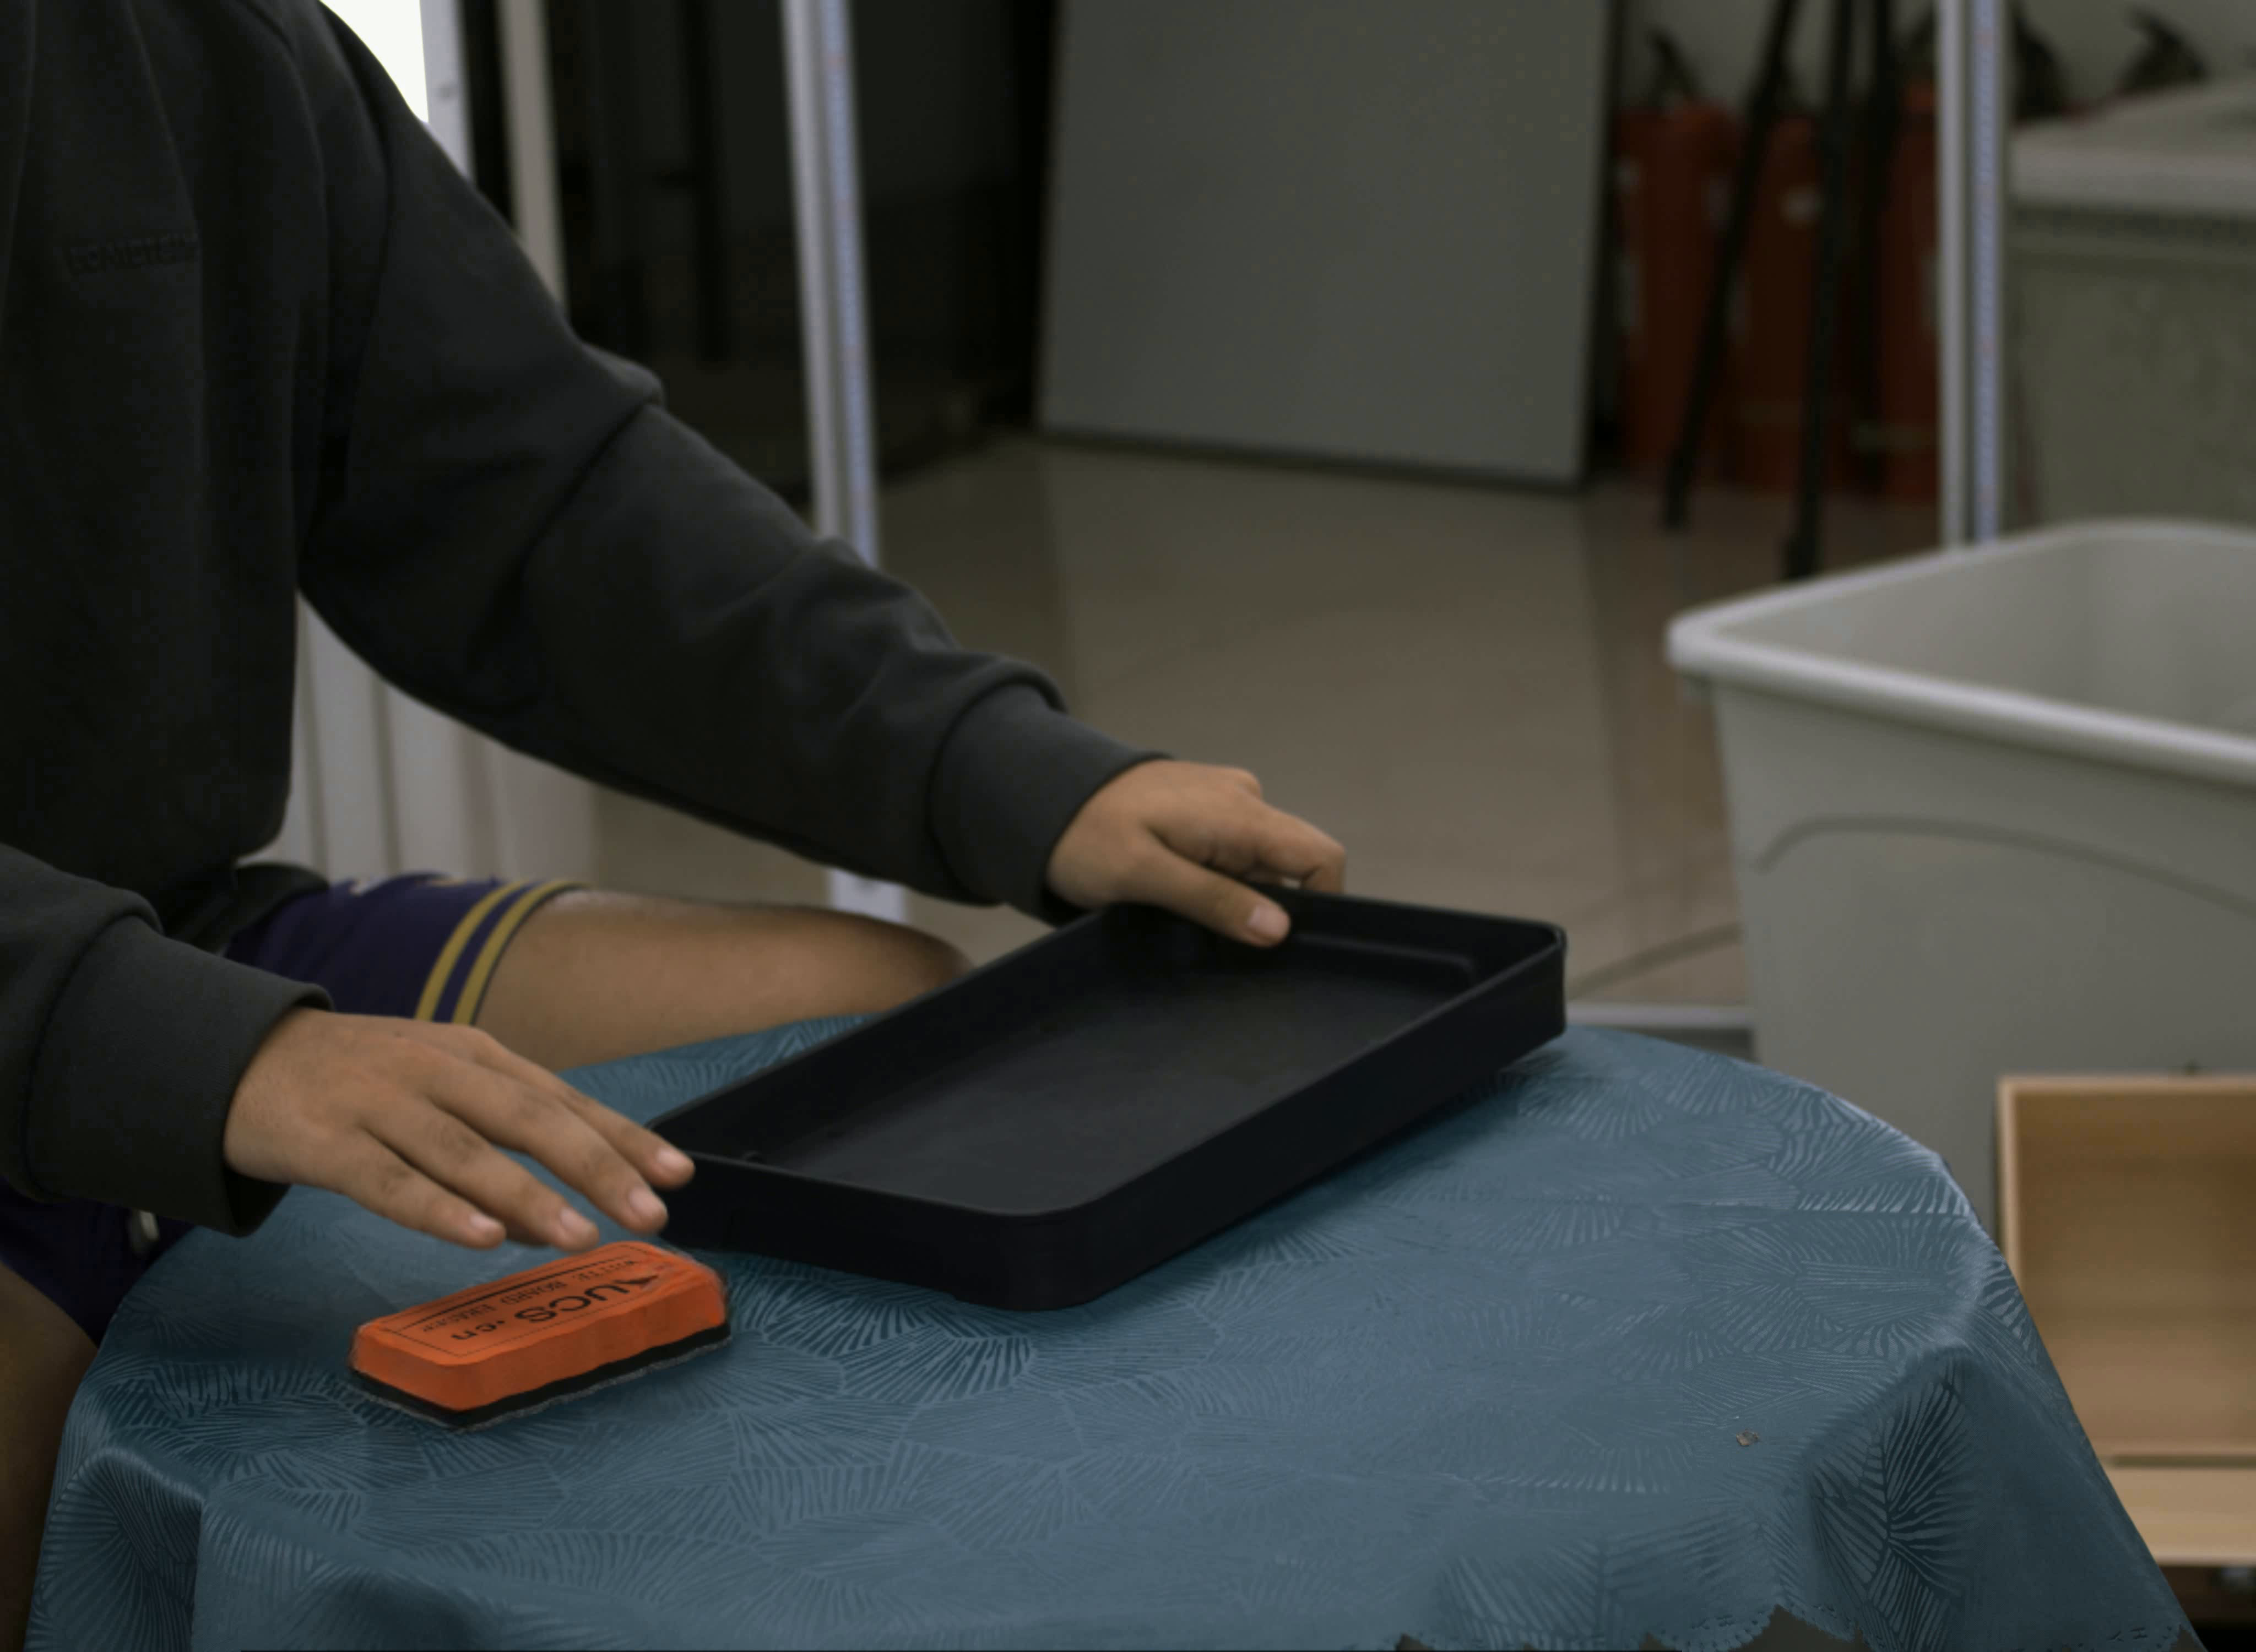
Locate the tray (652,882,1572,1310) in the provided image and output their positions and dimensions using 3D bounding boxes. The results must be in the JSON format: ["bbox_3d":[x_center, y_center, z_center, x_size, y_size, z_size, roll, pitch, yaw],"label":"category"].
[{"bbox_3d":[0.002,0.085,1.819,0.185,0.037,0.312,5,19,36],"label":"tray"}]

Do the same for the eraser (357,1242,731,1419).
[{"bbox_3d":[-0.175,0.151,1.633,0.106,0.023,0.059,-17,11,-39],"label":"eraser"}]
